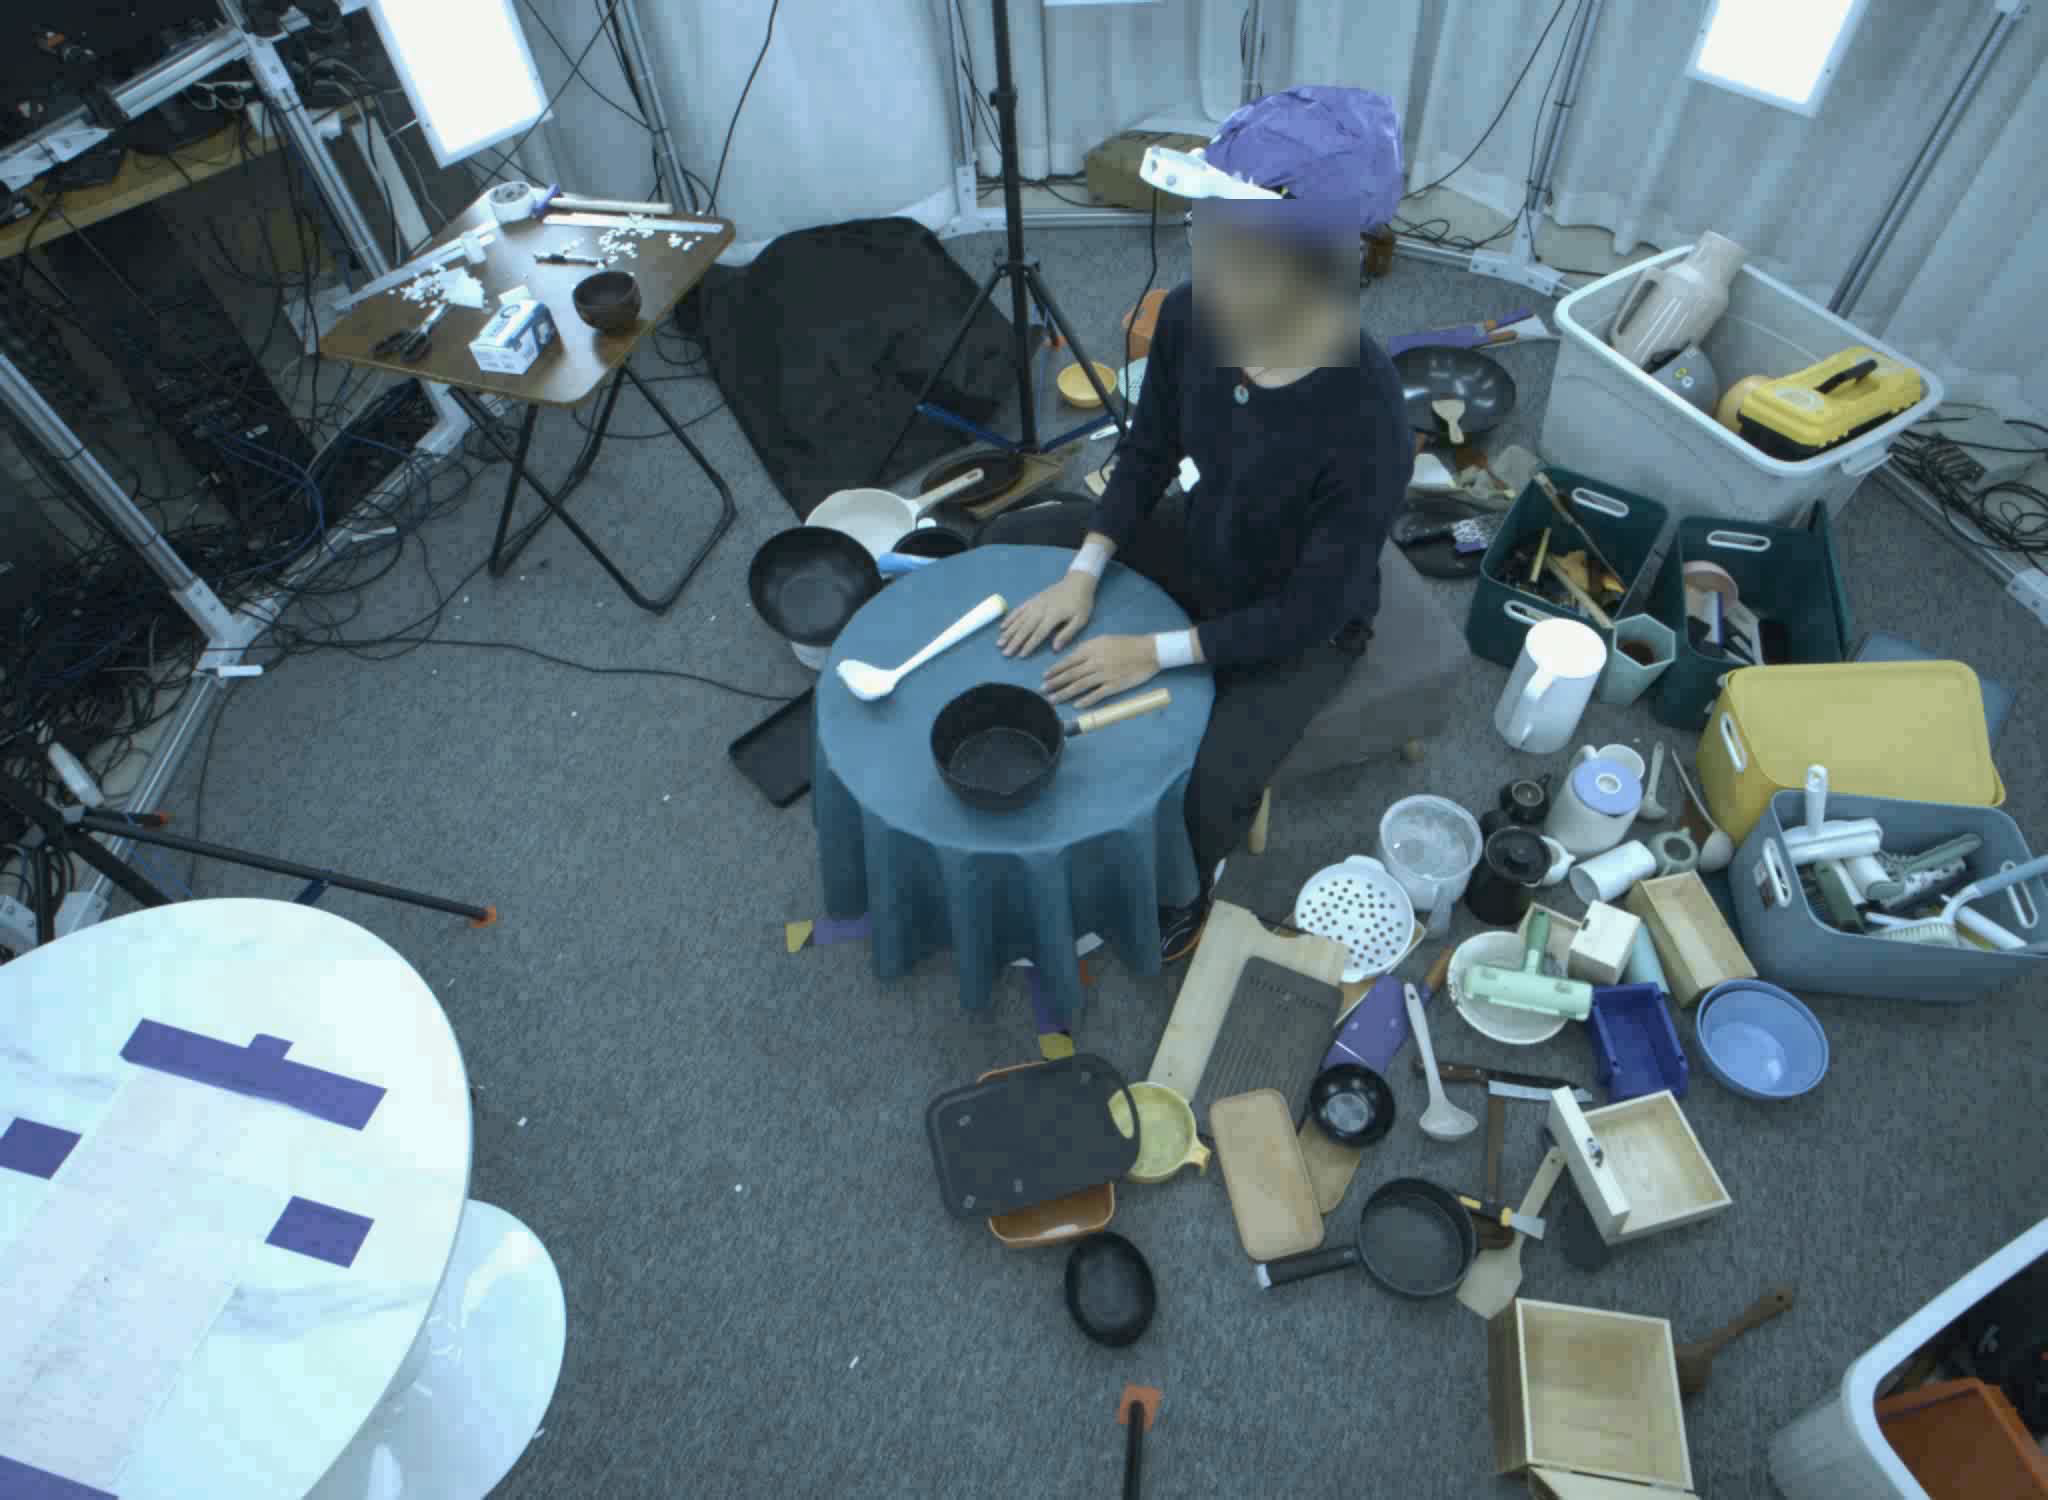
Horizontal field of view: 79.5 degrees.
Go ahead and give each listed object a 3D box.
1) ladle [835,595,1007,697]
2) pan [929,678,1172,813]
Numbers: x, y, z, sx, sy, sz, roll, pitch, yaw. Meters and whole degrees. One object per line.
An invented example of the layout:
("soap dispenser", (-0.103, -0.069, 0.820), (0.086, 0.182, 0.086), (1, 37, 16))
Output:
("ladle", (-0.152, -0.168, 1.873), (0.295, 0.071, 0.088), (-34, 53, -21))
("pan", (0.040, -0.020, 1.733), (0.344, 0.109, 0.204), (-13, 54, -5))
